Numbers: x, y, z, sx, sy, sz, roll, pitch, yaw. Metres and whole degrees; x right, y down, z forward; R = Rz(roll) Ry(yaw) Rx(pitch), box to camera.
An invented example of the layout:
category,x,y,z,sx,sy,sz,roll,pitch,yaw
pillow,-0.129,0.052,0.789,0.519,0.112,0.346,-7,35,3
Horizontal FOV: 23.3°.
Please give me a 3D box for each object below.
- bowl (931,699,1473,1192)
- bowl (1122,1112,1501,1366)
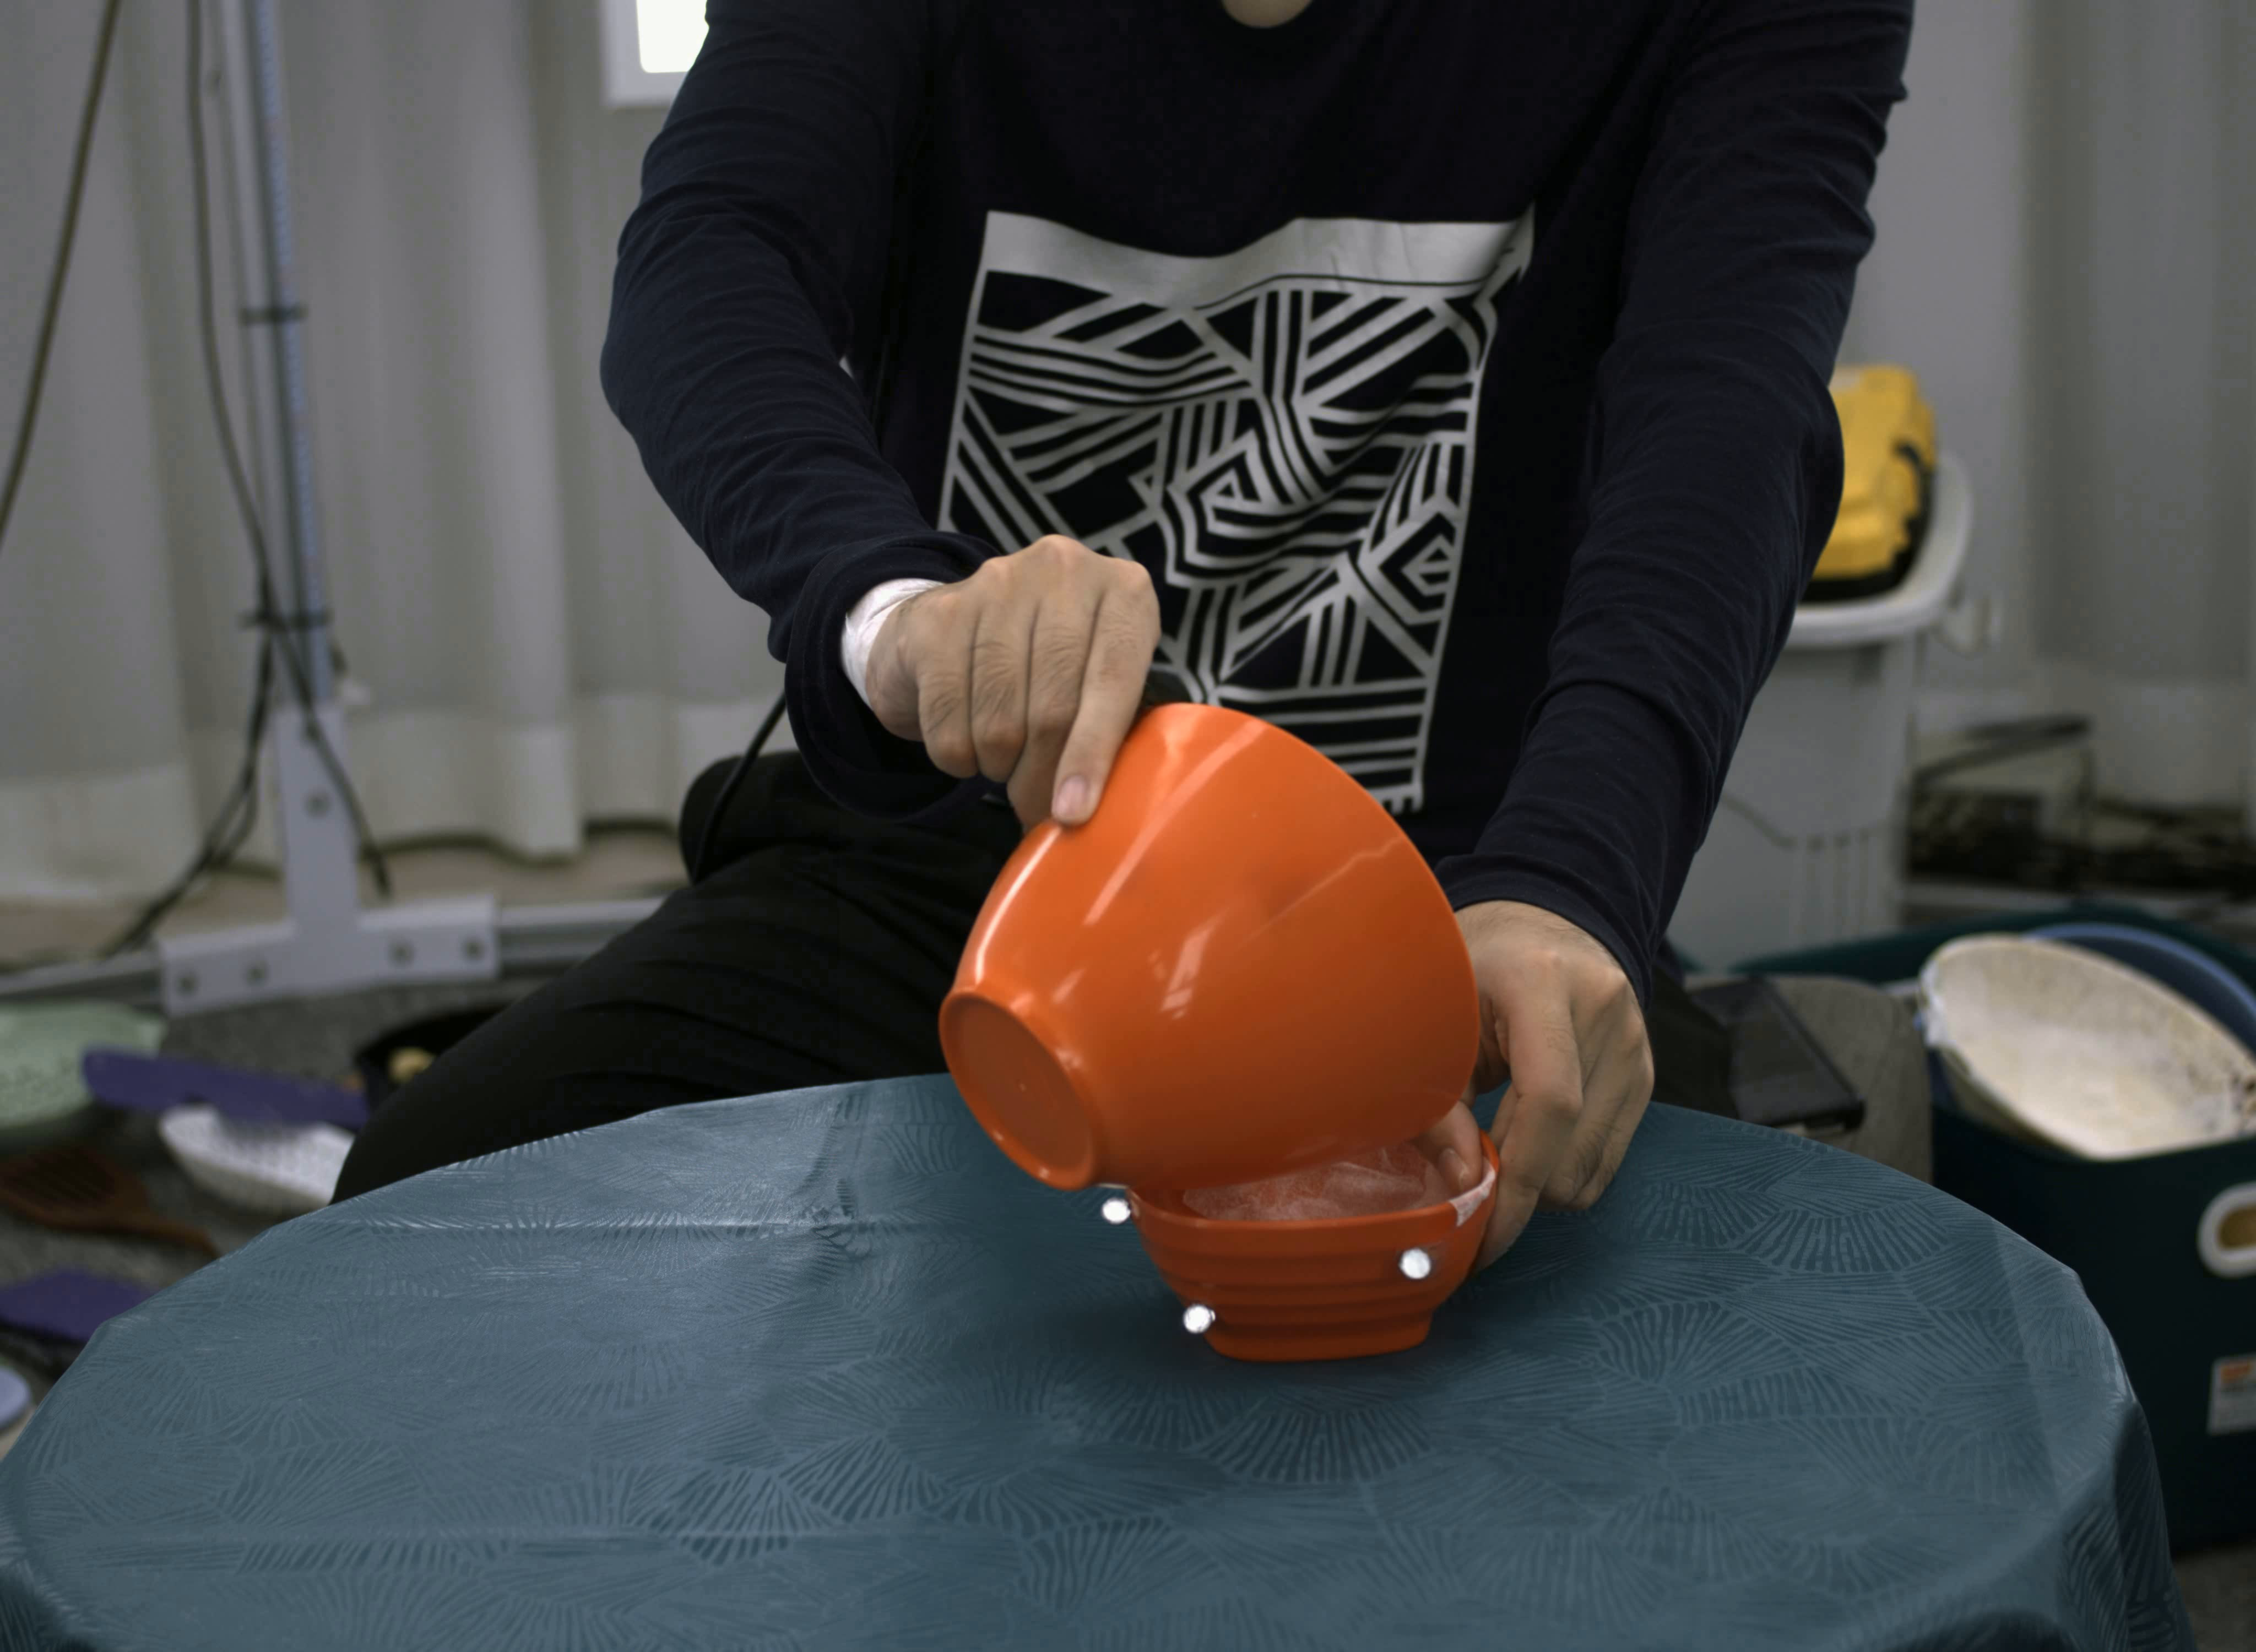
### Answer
category,x,y,z,sx,sy,sz,roll,pitch,yaw
bowl,0.010,0.049,1.548,0.105,0.146,0.149,-33,29,-30
bowl,0.054,0.121,1.589,0.118,0.051,0.119,-4,13,1
